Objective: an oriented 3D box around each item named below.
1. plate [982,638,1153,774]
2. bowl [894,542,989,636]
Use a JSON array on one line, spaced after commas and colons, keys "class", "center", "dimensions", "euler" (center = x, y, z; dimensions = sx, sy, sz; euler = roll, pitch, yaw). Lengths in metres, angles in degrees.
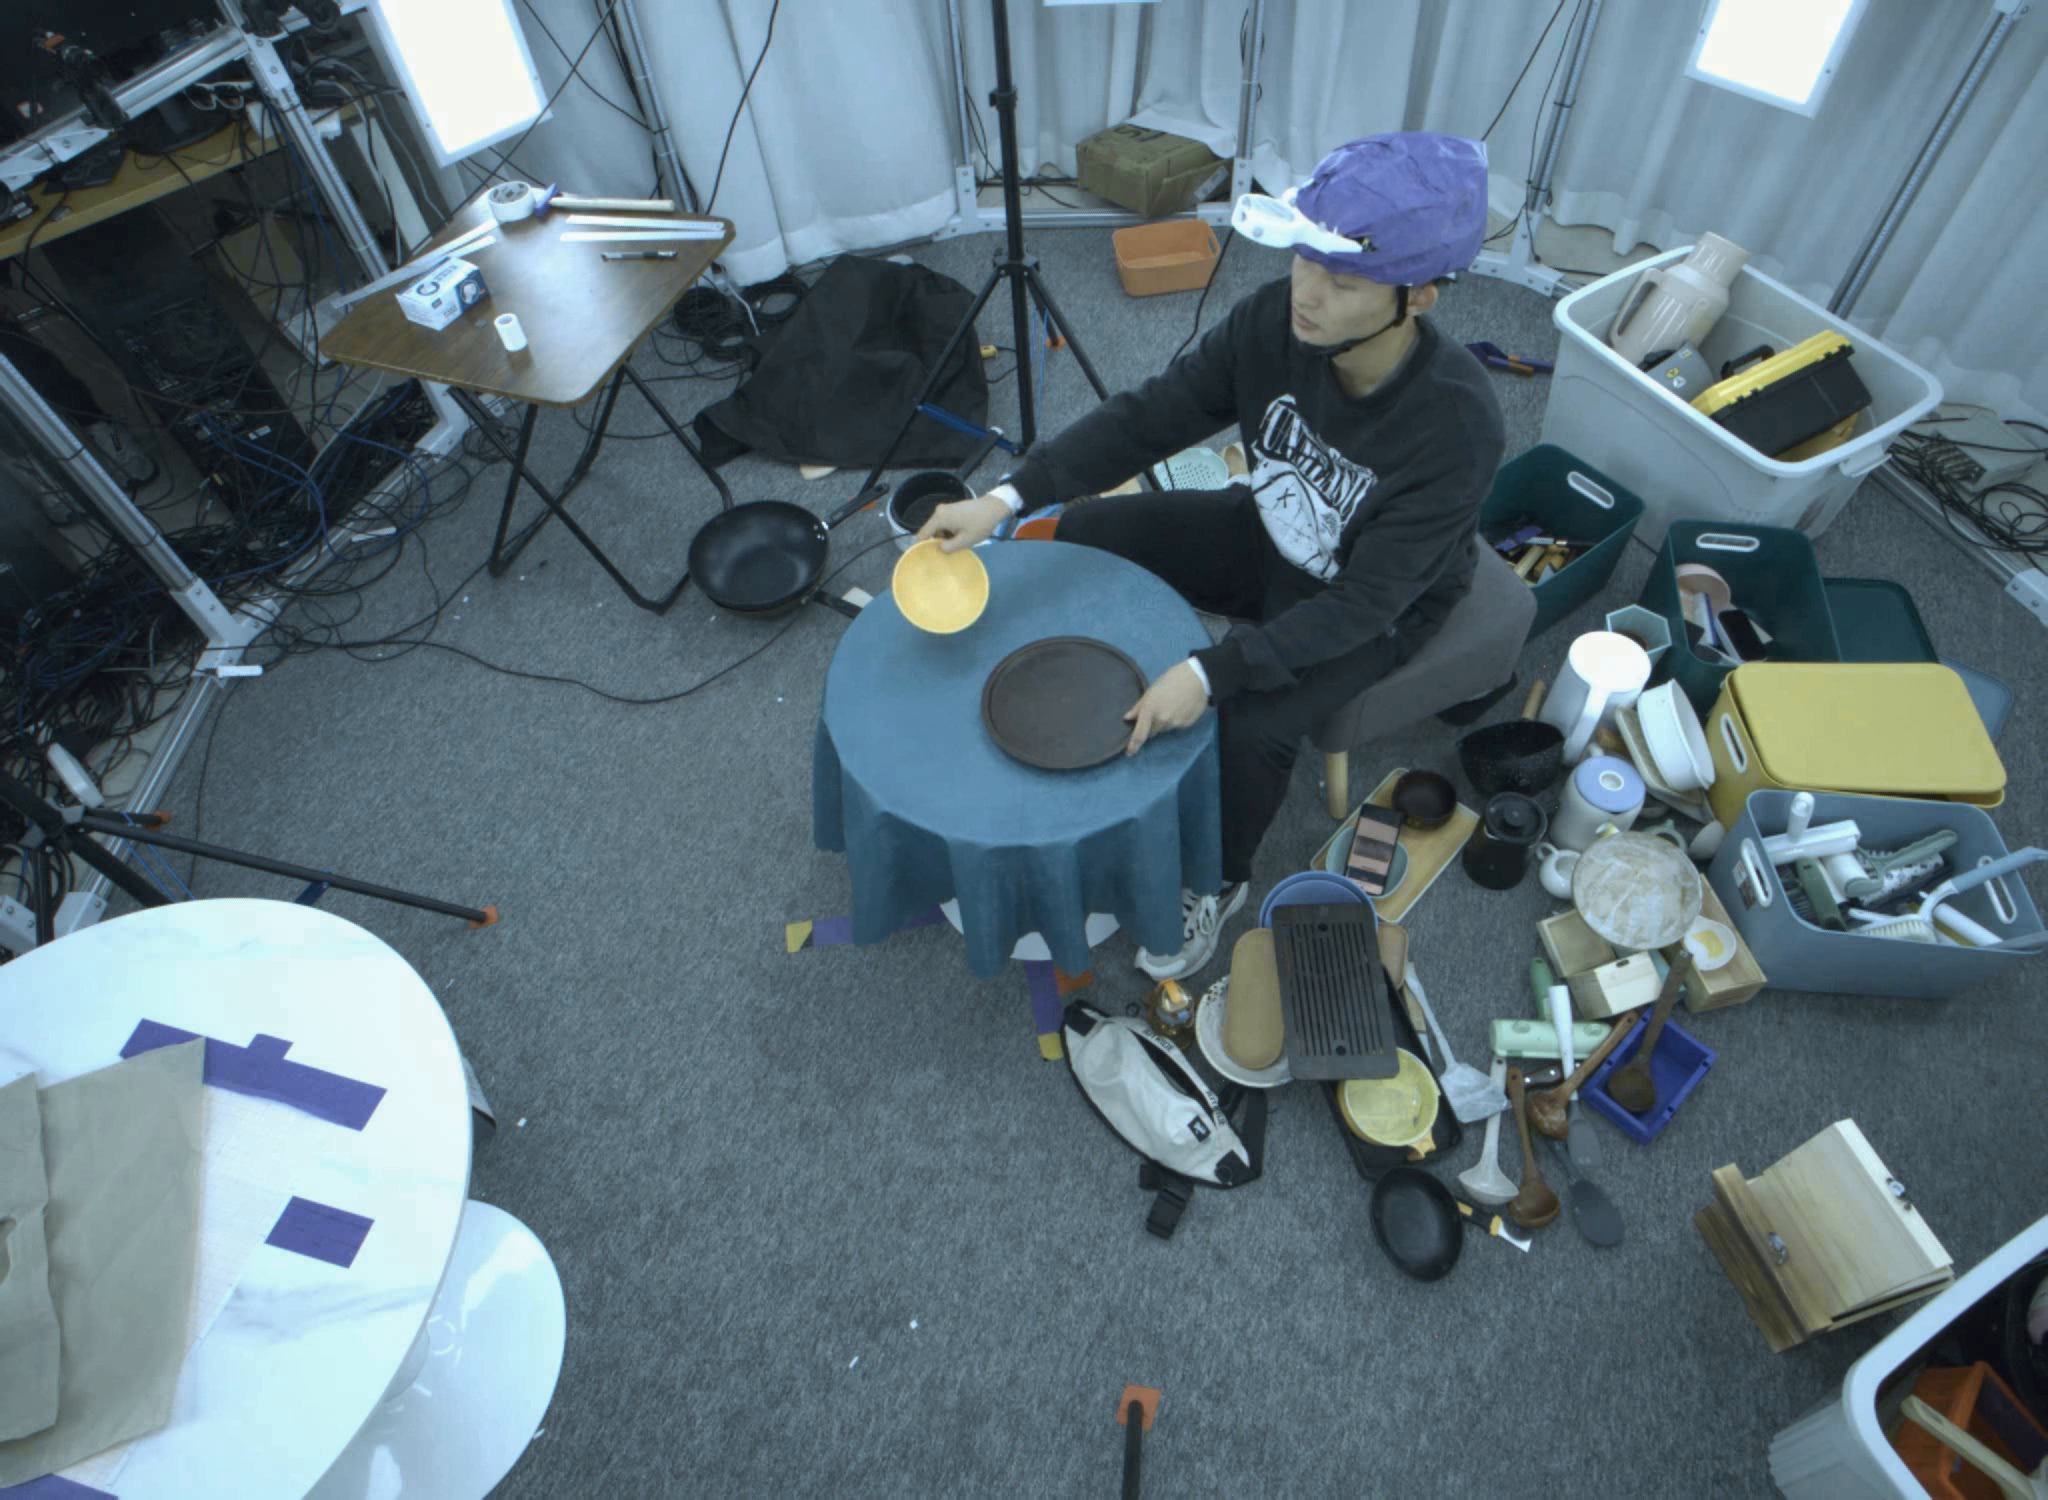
[{"class": "plate", "center": [0.064, -0.065, 1.826], "dimensions": [0.254, 0.029, 0.252], "euler": [-1, 53, 2]}, {"class": "bowl", "center": [-0.130, -0.239, 1.857], "dimensions": [0.147, 0.059, 0.145], "euler": [2, 85, -16]}]
